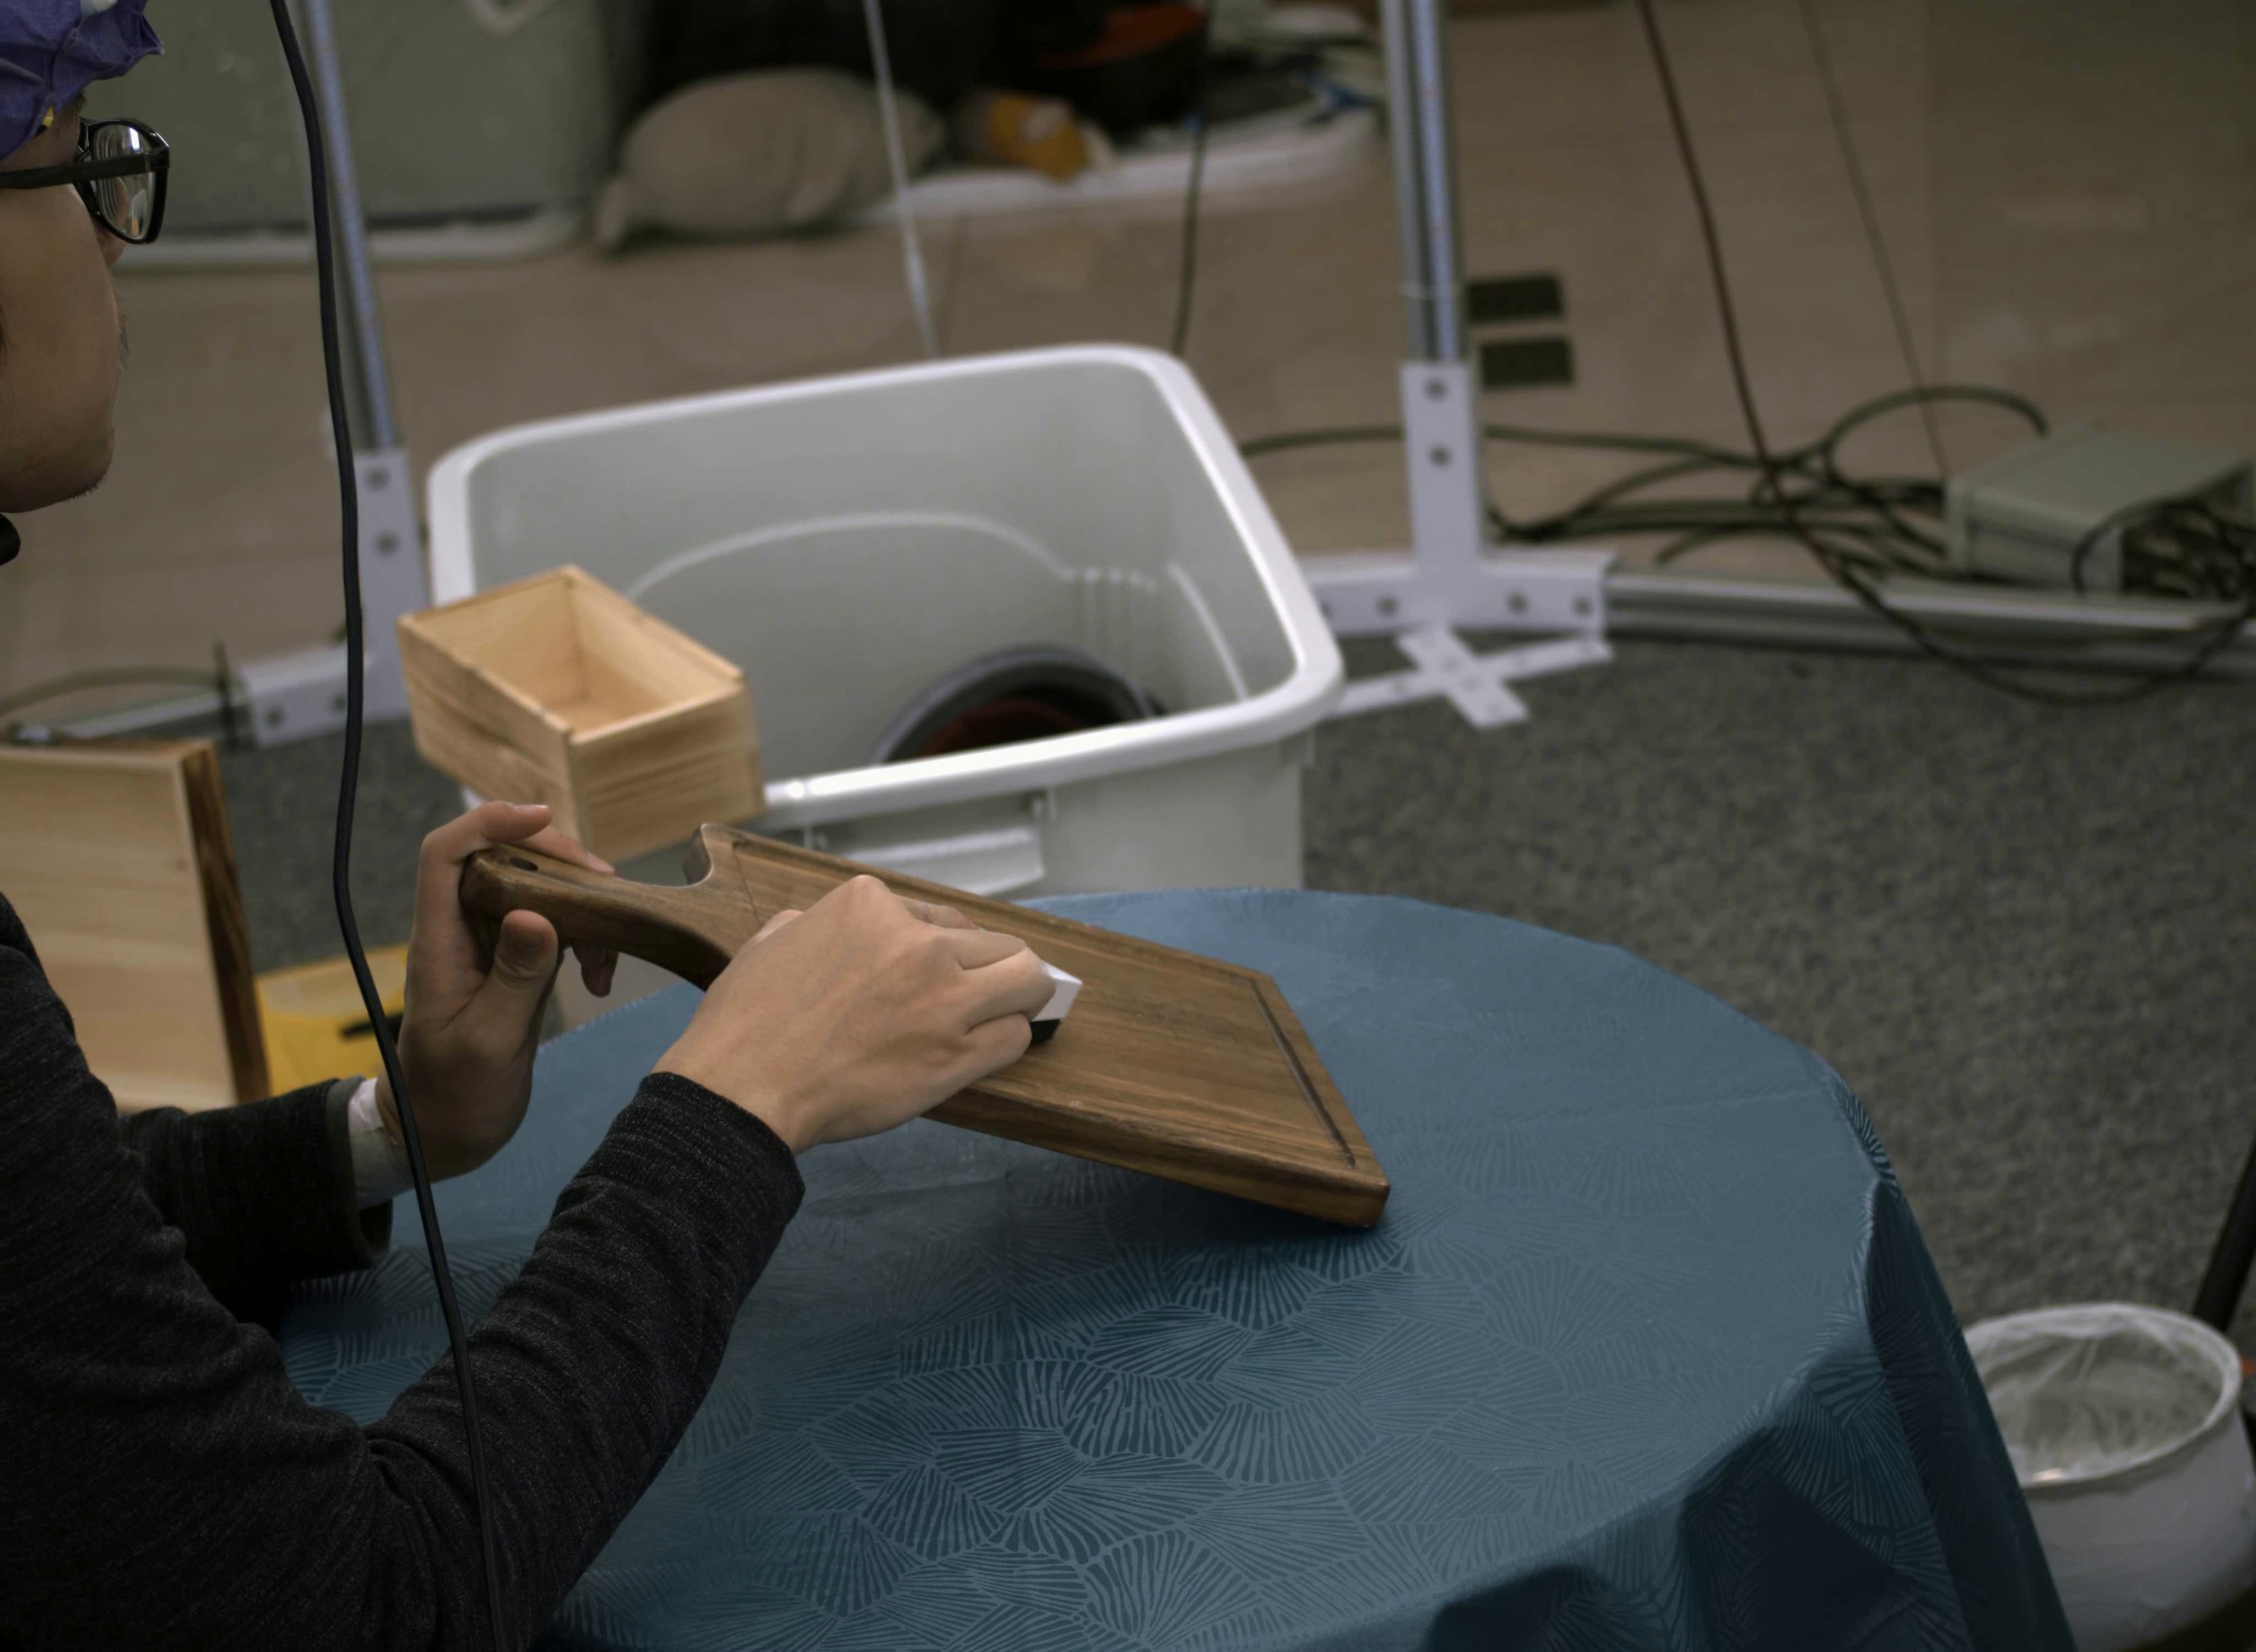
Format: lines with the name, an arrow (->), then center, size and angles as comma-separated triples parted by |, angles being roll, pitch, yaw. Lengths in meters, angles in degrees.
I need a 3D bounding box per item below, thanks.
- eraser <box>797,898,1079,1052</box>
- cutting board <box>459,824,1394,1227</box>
eraser -> -0.070, 0.055, 2.073 | 0.063, 0.035, 0.131 | 28, 12, 23
cutting board -> -0.082, 0.062, 2.125 | 0.353, 0.023, 0.198 | 15, 19, -20
